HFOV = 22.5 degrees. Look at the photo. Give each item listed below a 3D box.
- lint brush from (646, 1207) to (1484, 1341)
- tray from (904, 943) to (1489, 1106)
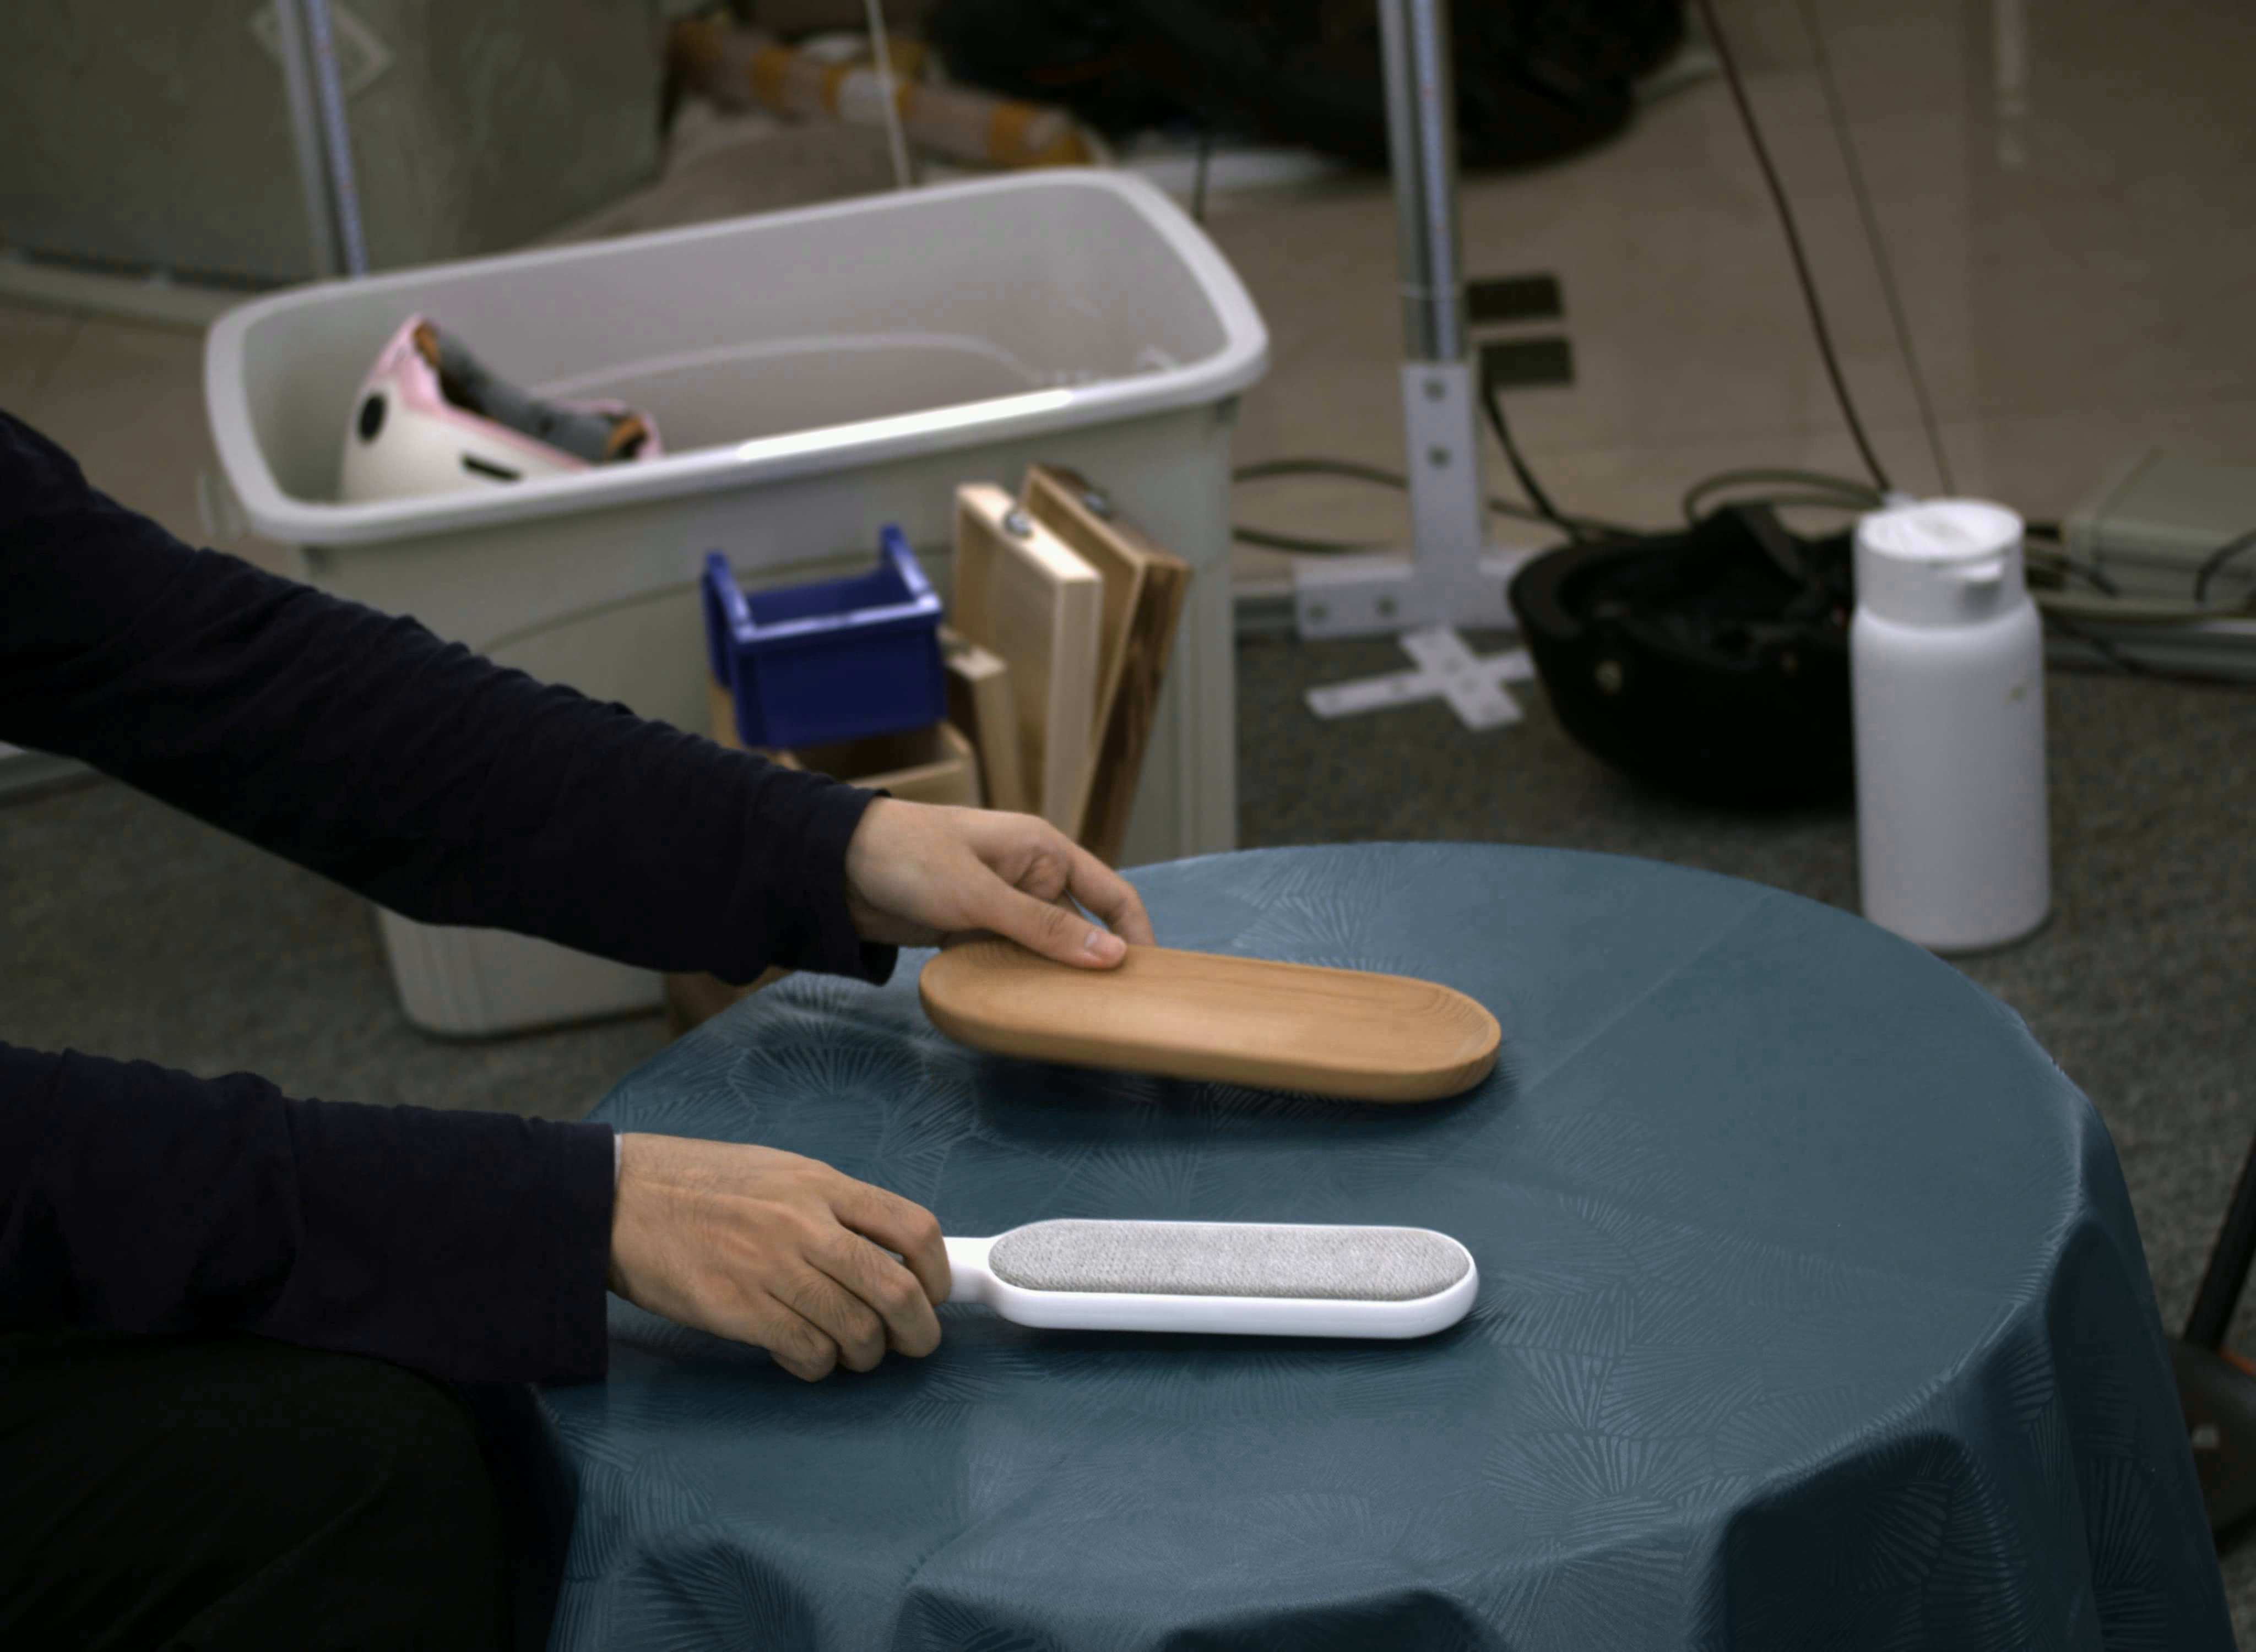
[{"bbox_3d":[-0.025,0.160,2.060,0.308,0.021,0.059,2,32,10],"label":"lint brush"},{"bbox_3d":[0.026,0.078,2.222,0.230,0.020,0.100,4,21,9],"label":"tray"}]
